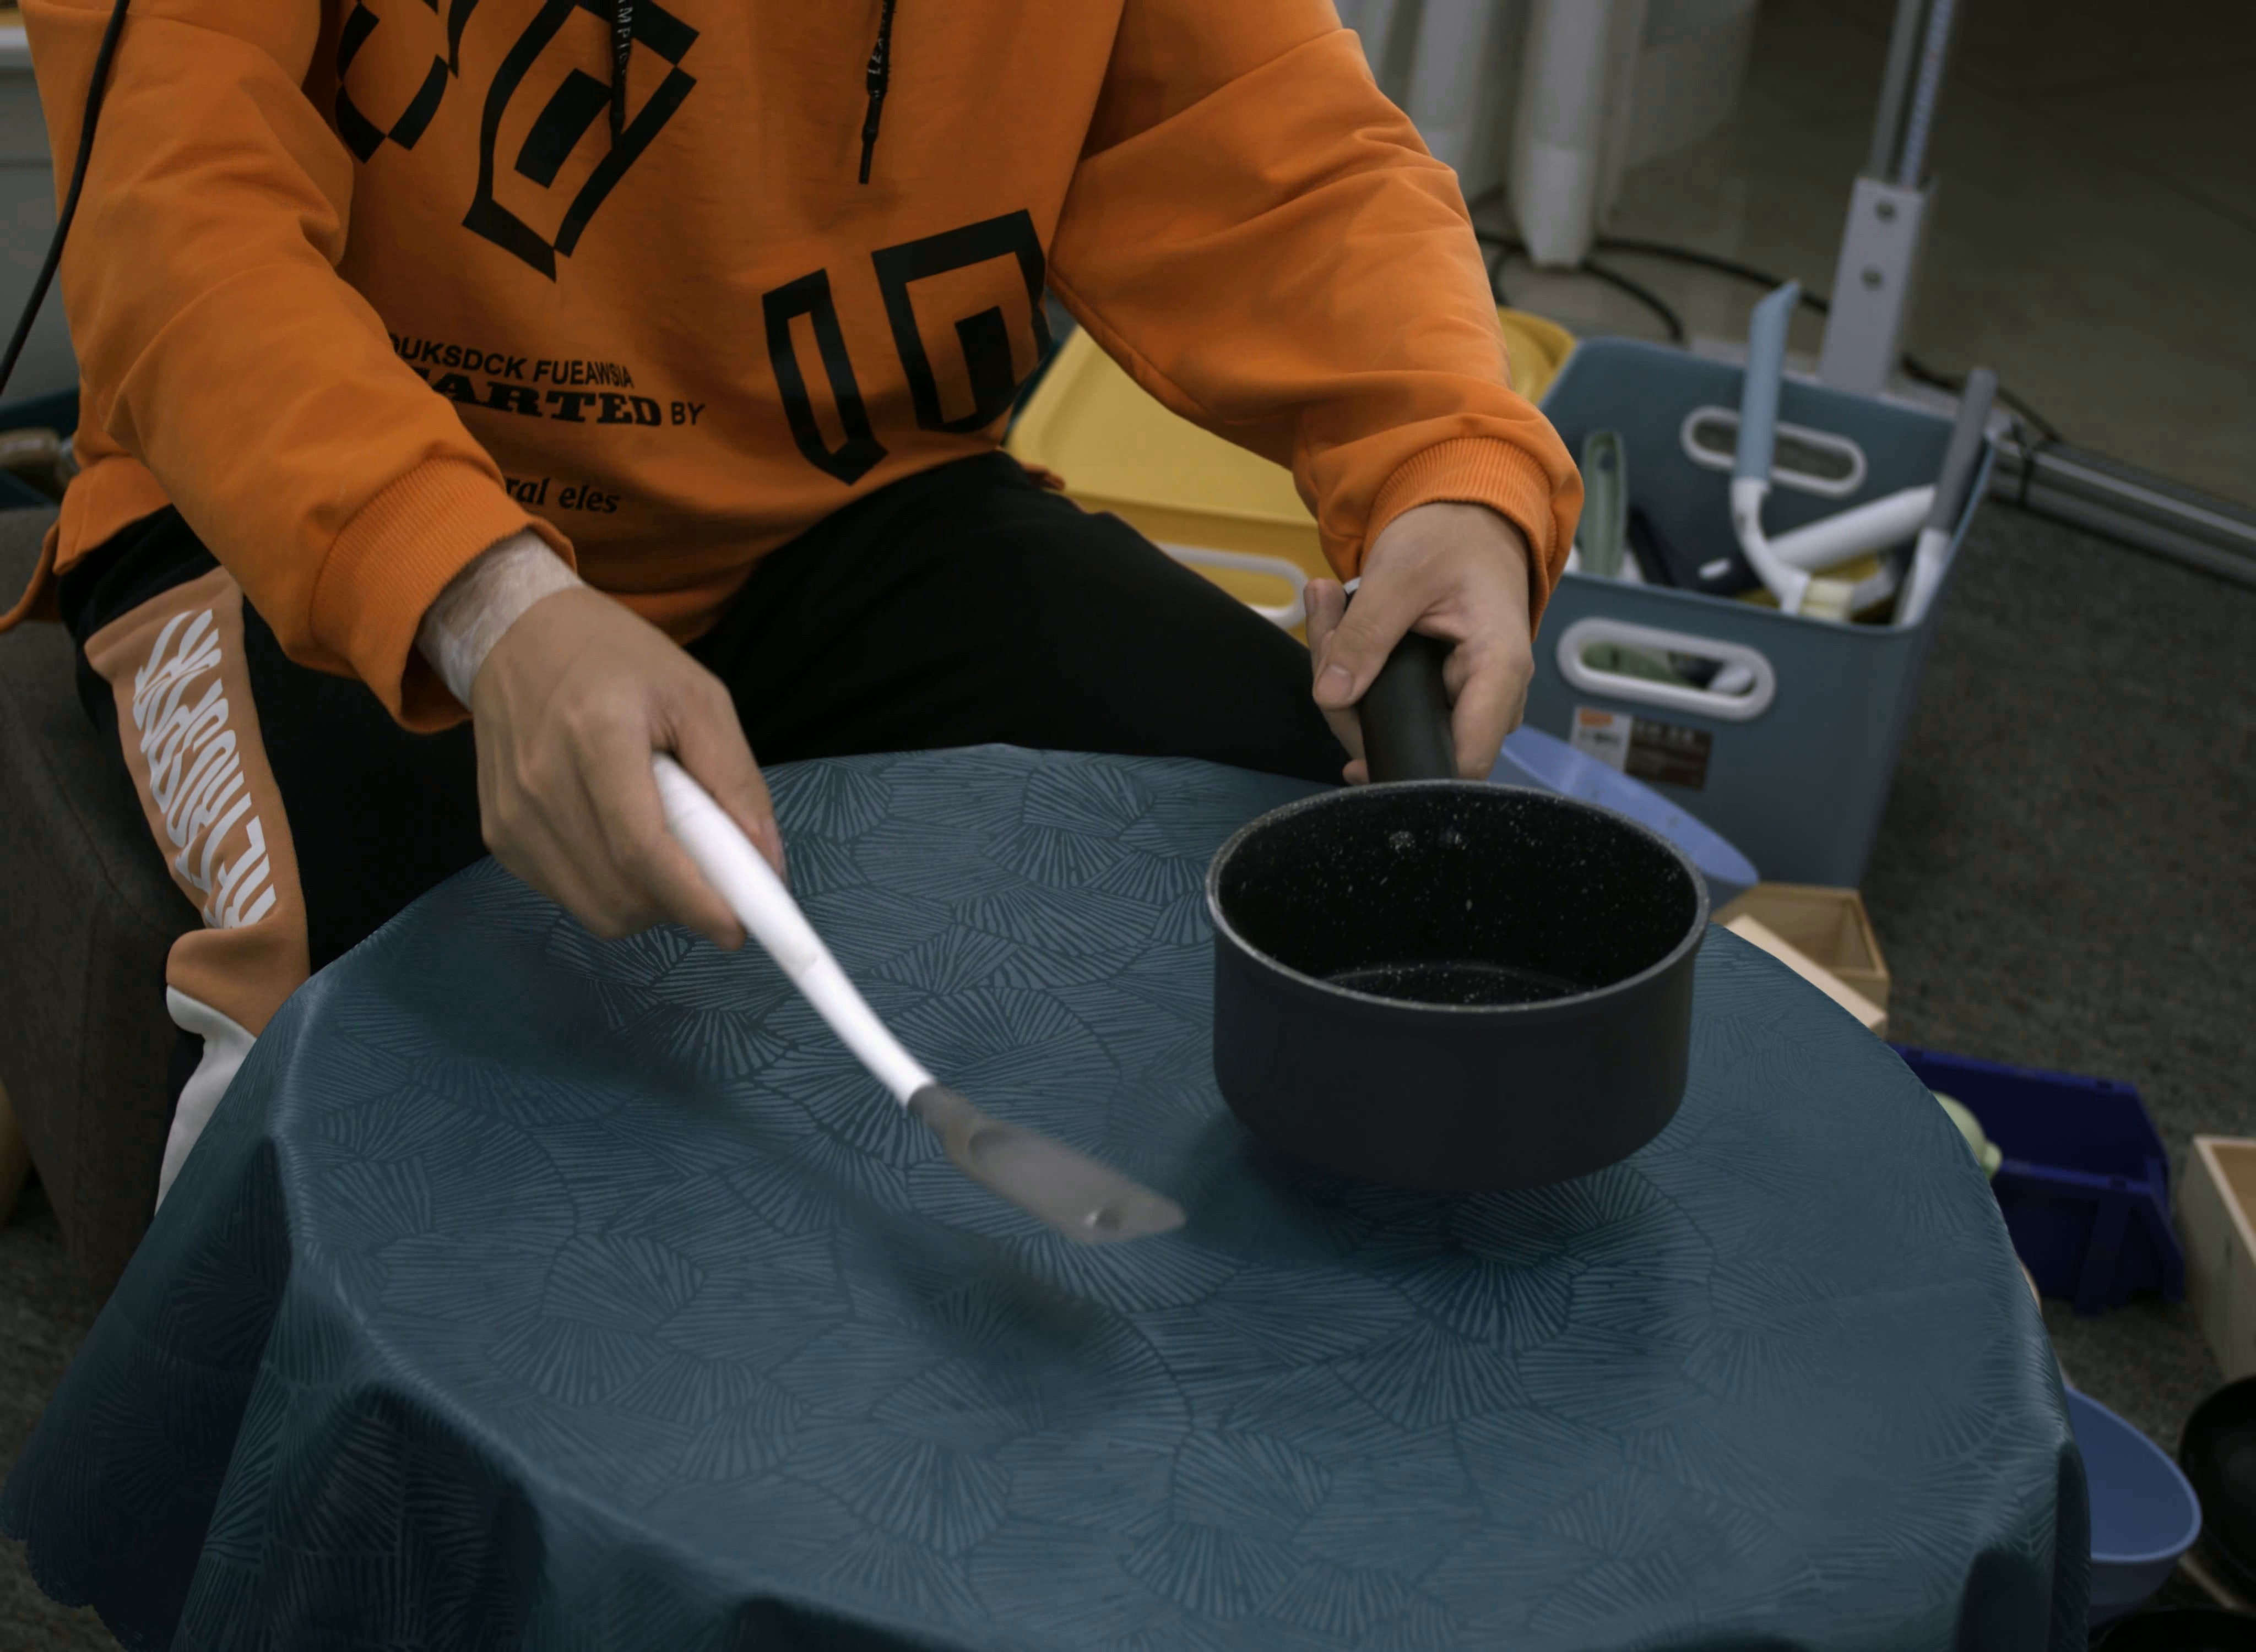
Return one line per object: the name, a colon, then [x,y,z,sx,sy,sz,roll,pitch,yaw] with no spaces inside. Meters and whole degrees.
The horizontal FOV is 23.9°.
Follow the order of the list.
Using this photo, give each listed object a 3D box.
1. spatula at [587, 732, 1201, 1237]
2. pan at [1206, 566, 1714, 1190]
spatula: [-0.085,0.057,1.773,0.058,0.032,0.290,-2,34,-47]
pan: [0.109,0.015,1.881,0.171,0.086,0.331,0,28,-1]
